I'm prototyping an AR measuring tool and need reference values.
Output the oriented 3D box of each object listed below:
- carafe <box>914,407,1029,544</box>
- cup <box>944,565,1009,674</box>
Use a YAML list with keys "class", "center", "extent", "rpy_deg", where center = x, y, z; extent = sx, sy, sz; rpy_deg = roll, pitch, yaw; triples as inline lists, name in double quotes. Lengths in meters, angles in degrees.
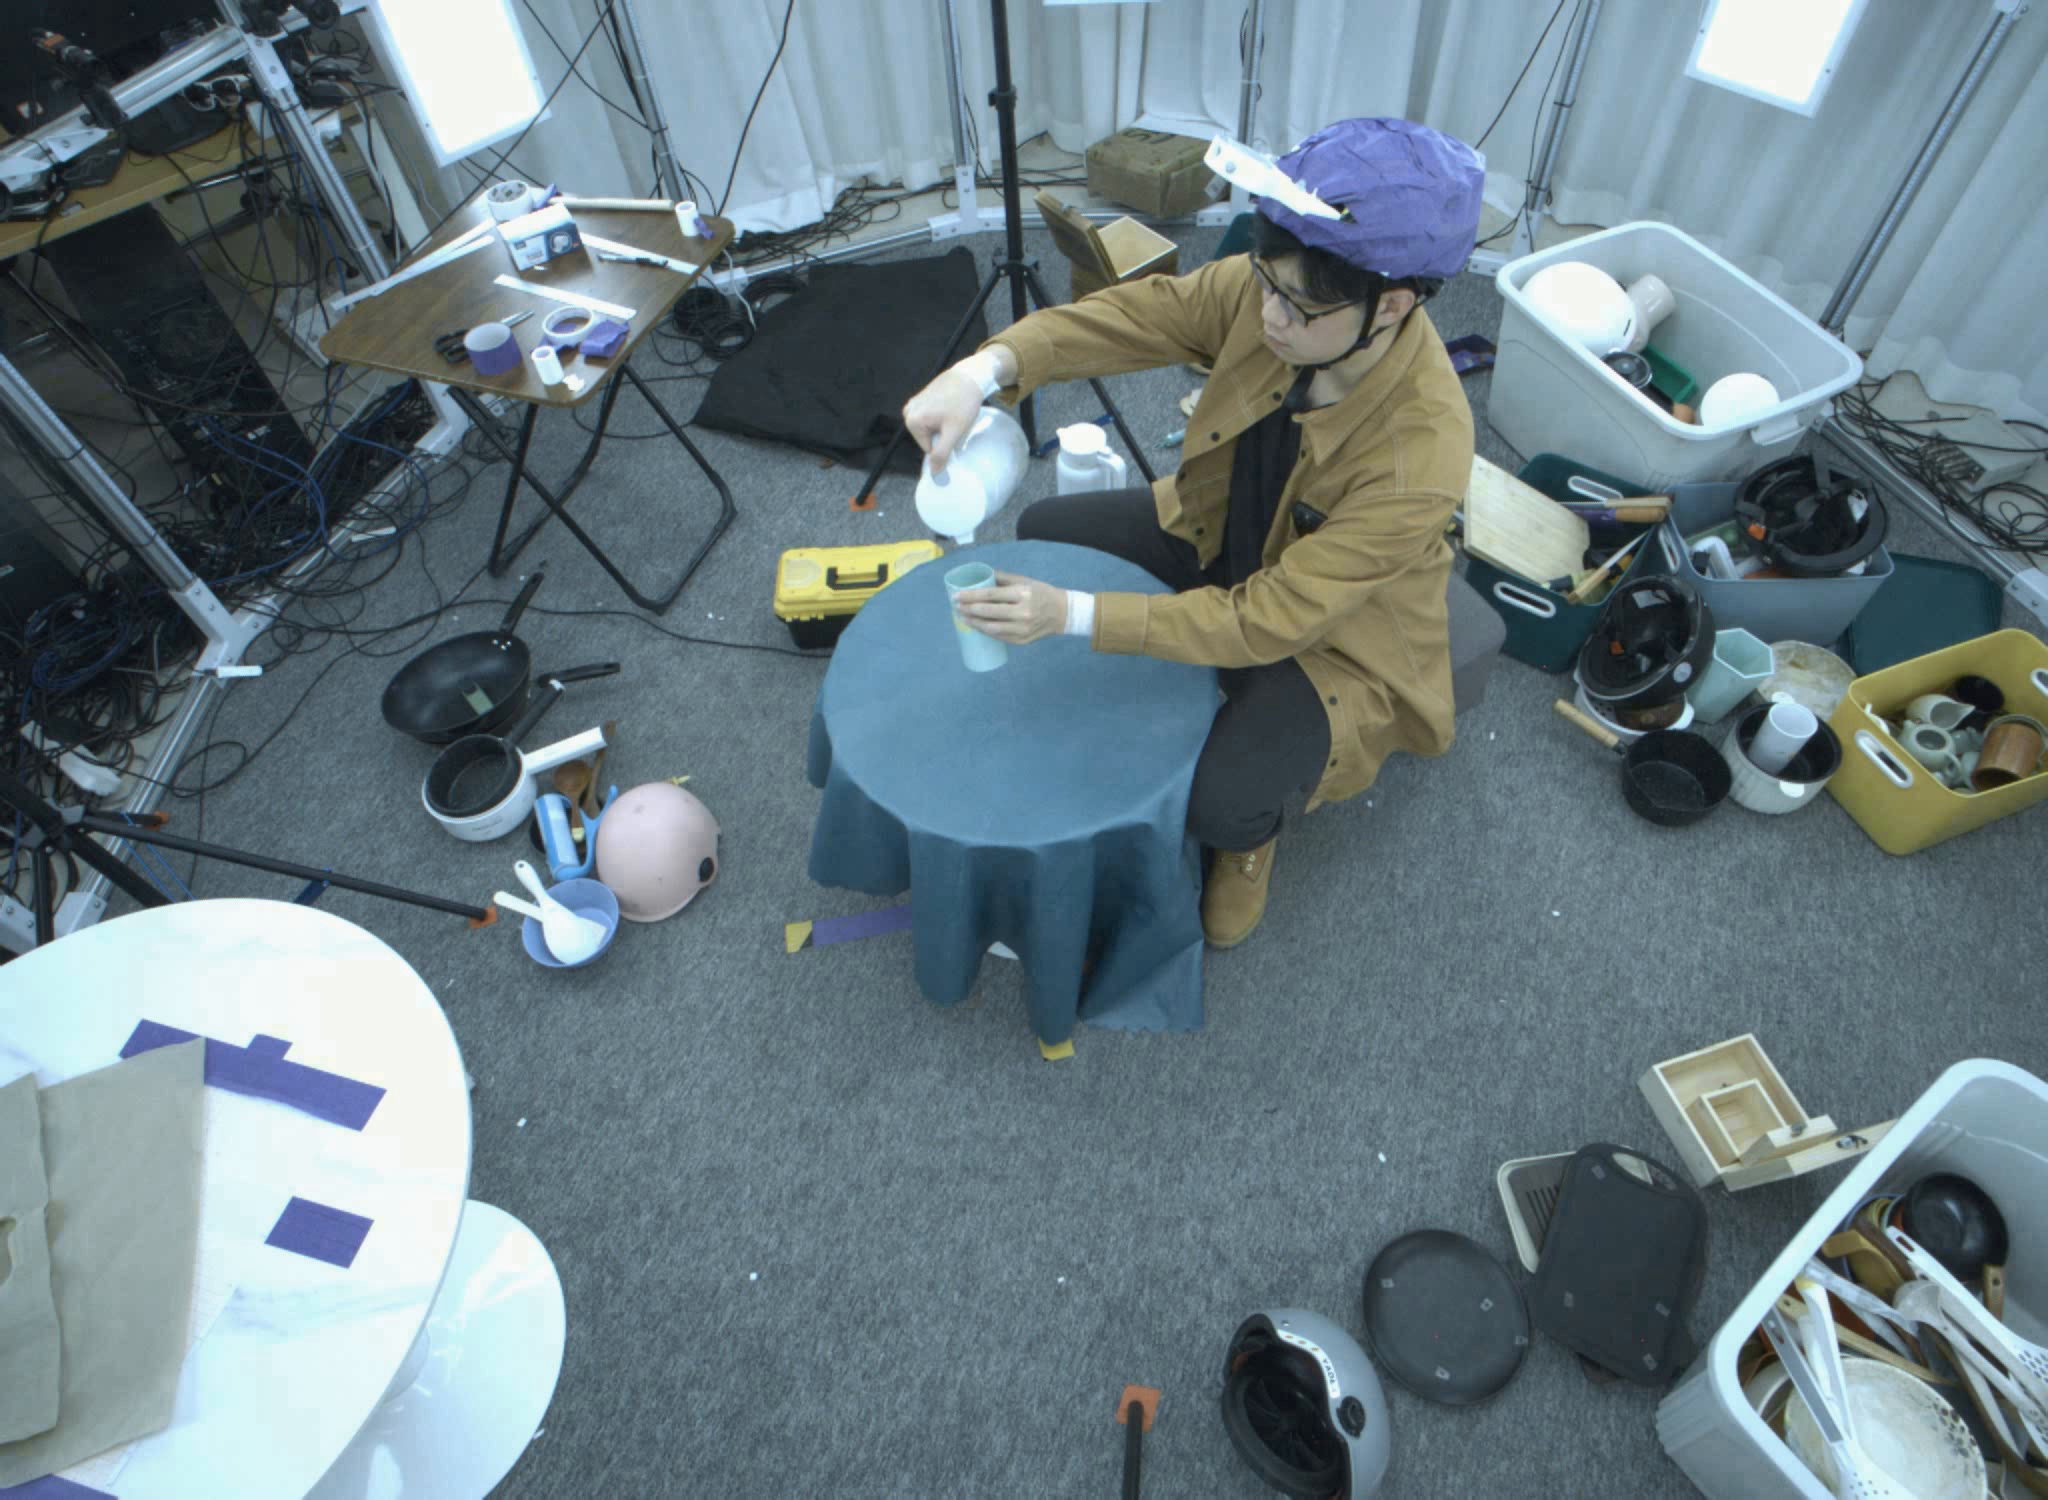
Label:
- class: "carafe"
  center: [-0.084, -0.382, 1.610]
  extent: [0.131, 0.170, 0.247]
  rpy_deg: [-10, 26, 15]
- class: "cup"
  center: [-0.061, -0.173, 1.630]
  extent: [0.066, 0.134, 0.066]
  rpy_deg: [-7, 38, 6]
